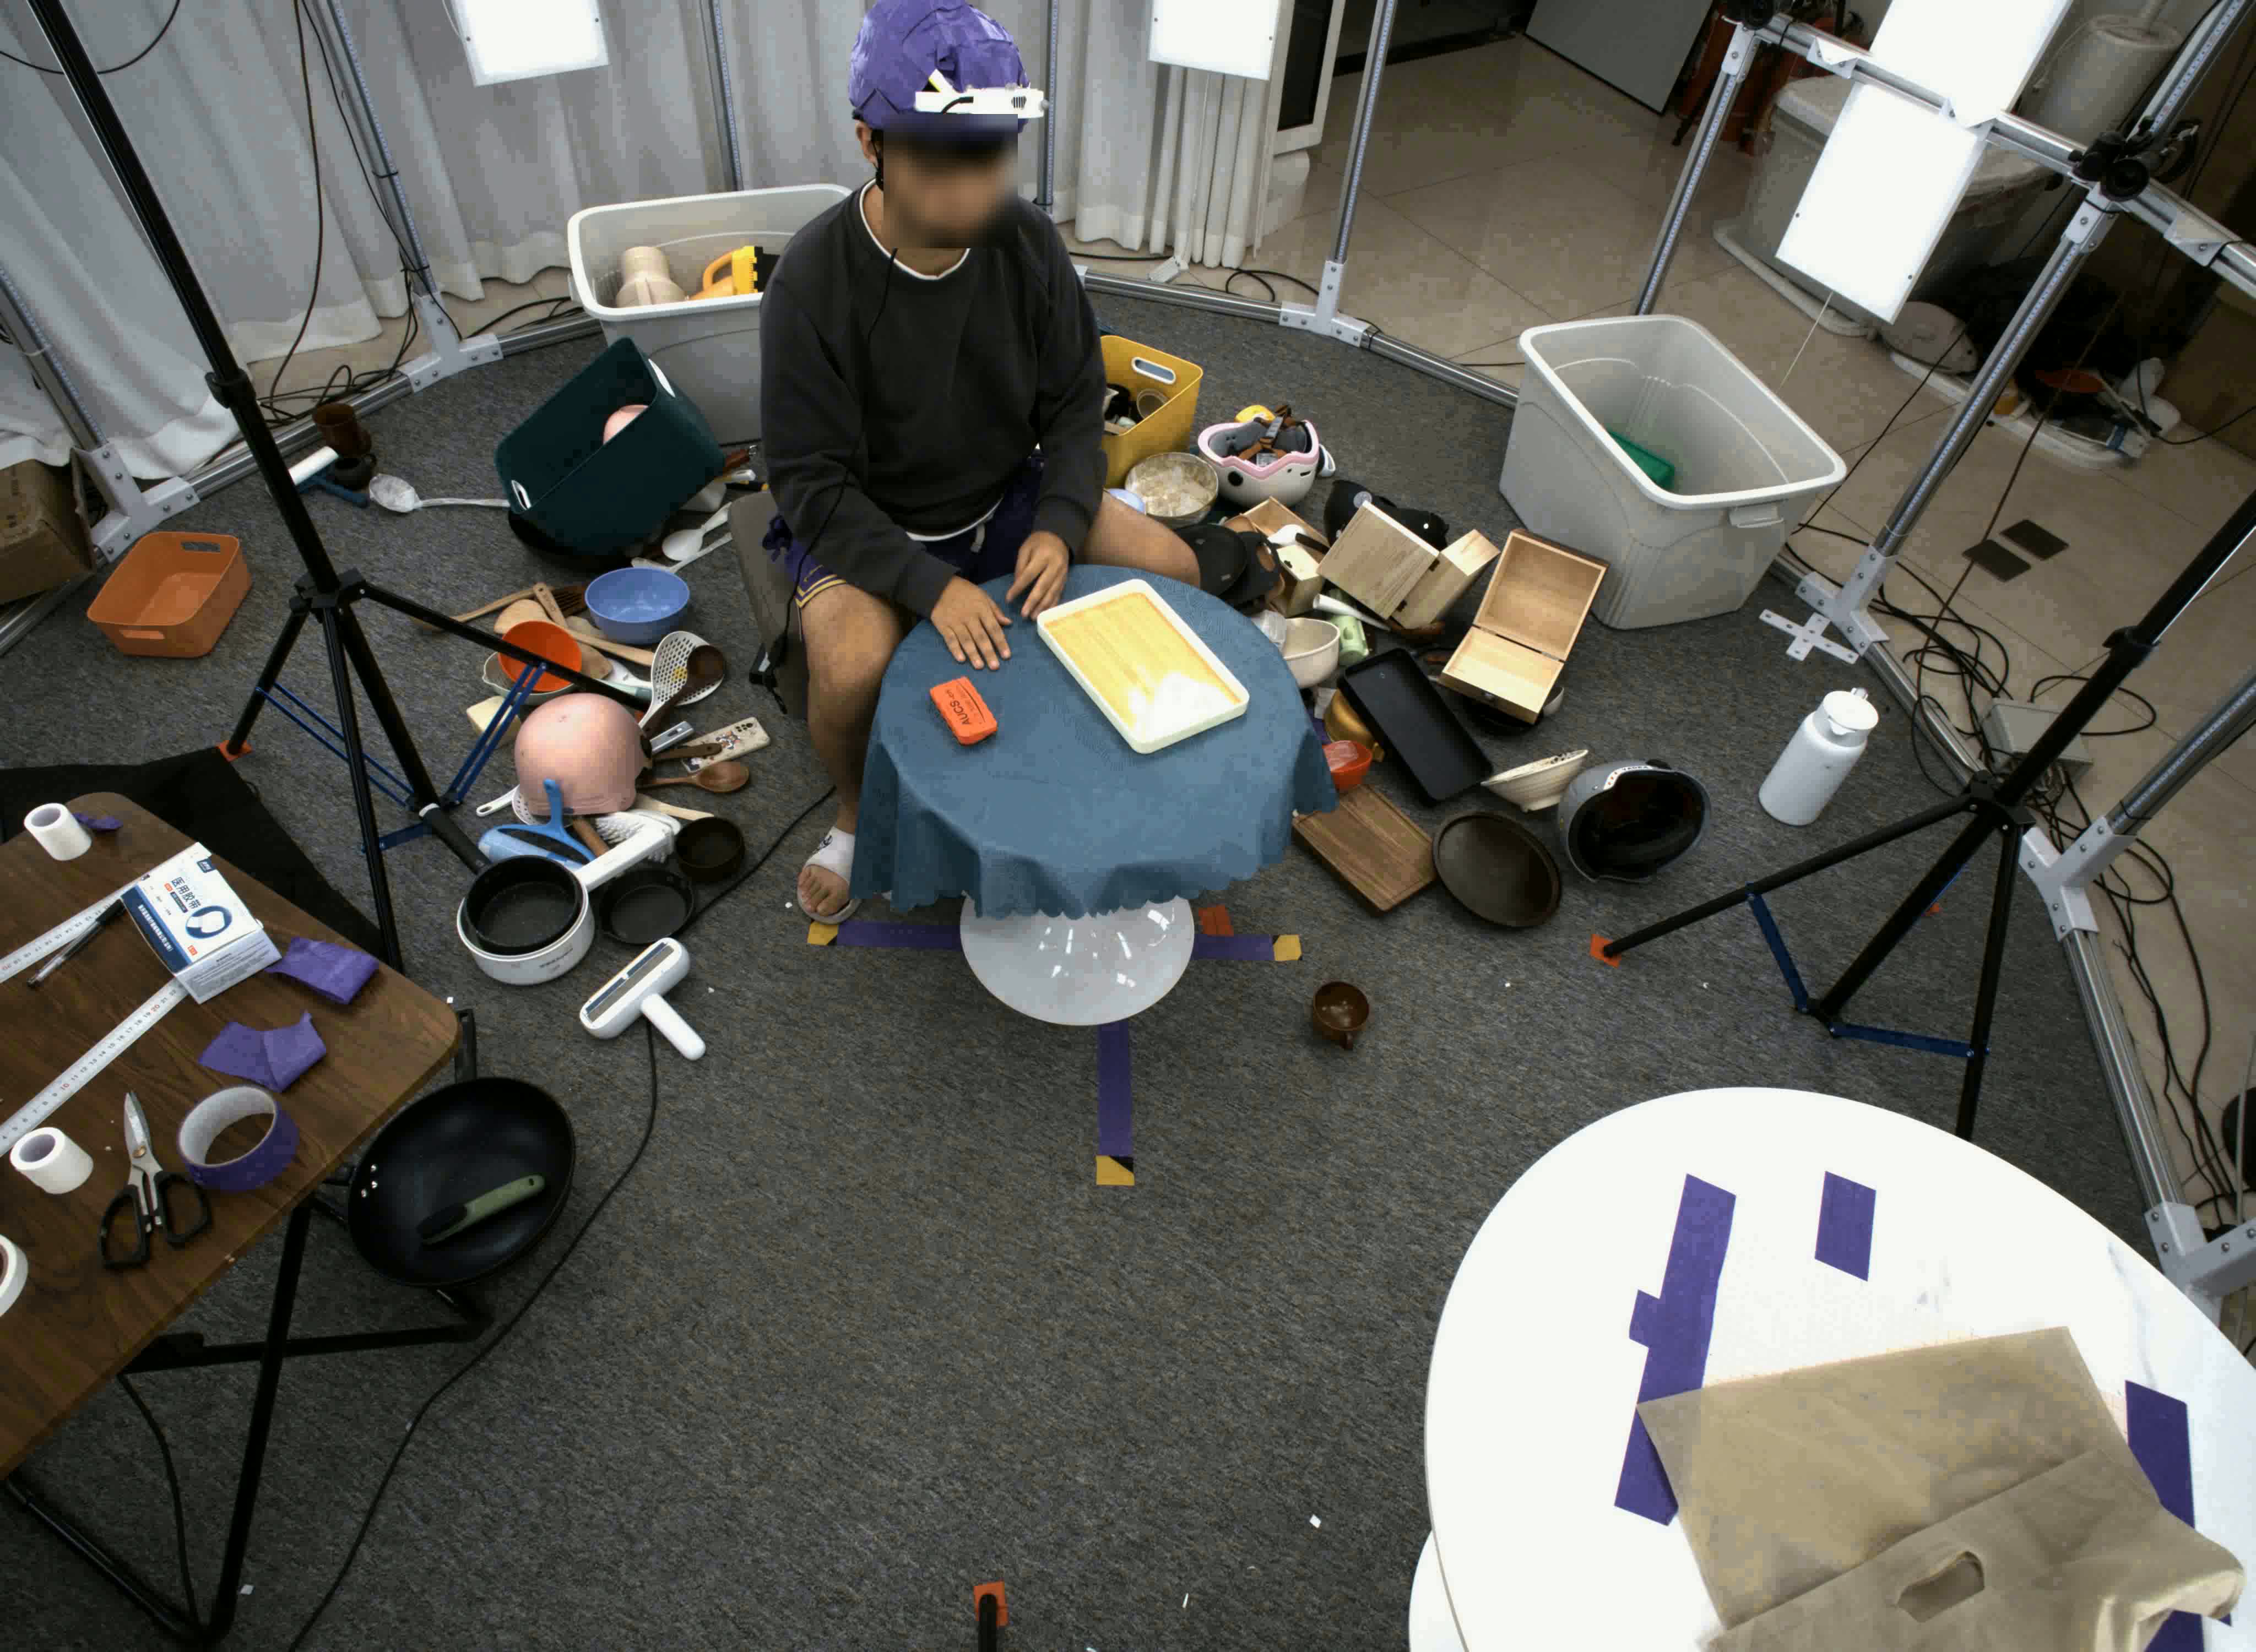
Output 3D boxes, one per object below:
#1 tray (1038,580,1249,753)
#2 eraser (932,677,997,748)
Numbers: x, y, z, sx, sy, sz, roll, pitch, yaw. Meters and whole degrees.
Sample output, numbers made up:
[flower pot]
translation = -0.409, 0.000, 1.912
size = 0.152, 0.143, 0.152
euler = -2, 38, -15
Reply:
[tray]
translation = 0.019, -0.237, 1.856
size = 0.192, 0.027, 0.306
euler = -23, 54, -22
[eraser]
translation = -0.225, -0.158, 1.772
size = 0.059, 0.022, 0.110
euler = -20, 54, -20
